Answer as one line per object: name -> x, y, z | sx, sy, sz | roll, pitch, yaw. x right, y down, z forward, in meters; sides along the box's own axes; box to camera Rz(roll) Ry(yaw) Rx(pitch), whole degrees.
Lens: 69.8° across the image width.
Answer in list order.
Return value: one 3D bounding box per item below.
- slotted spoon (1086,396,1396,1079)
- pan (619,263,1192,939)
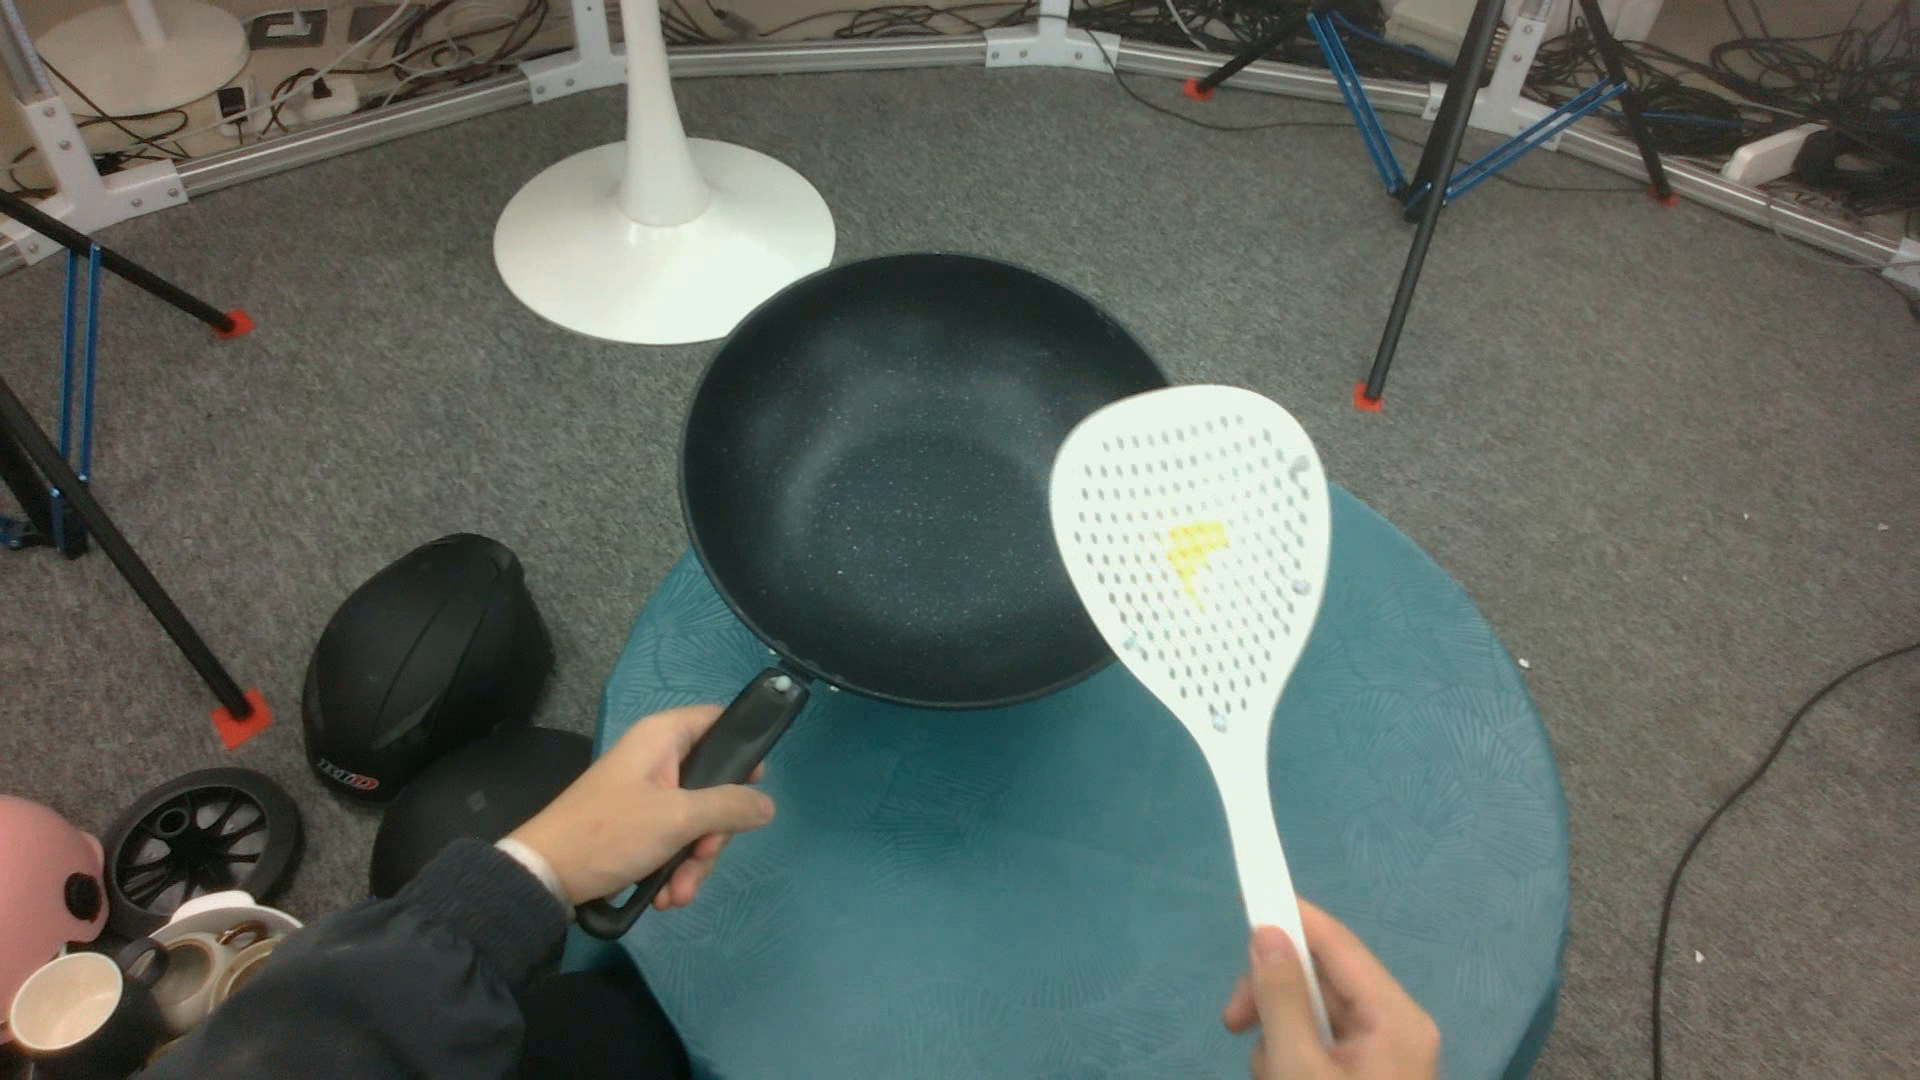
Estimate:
slotted spoon -> 0.151, 0.096, 0.660 | 0.136, 0.050, 0.349 | -17, 64, 18
pan -> -0.045, 0.031, 0.809 | 0.310, 0.111, 0.479 | 26, 62, 10
